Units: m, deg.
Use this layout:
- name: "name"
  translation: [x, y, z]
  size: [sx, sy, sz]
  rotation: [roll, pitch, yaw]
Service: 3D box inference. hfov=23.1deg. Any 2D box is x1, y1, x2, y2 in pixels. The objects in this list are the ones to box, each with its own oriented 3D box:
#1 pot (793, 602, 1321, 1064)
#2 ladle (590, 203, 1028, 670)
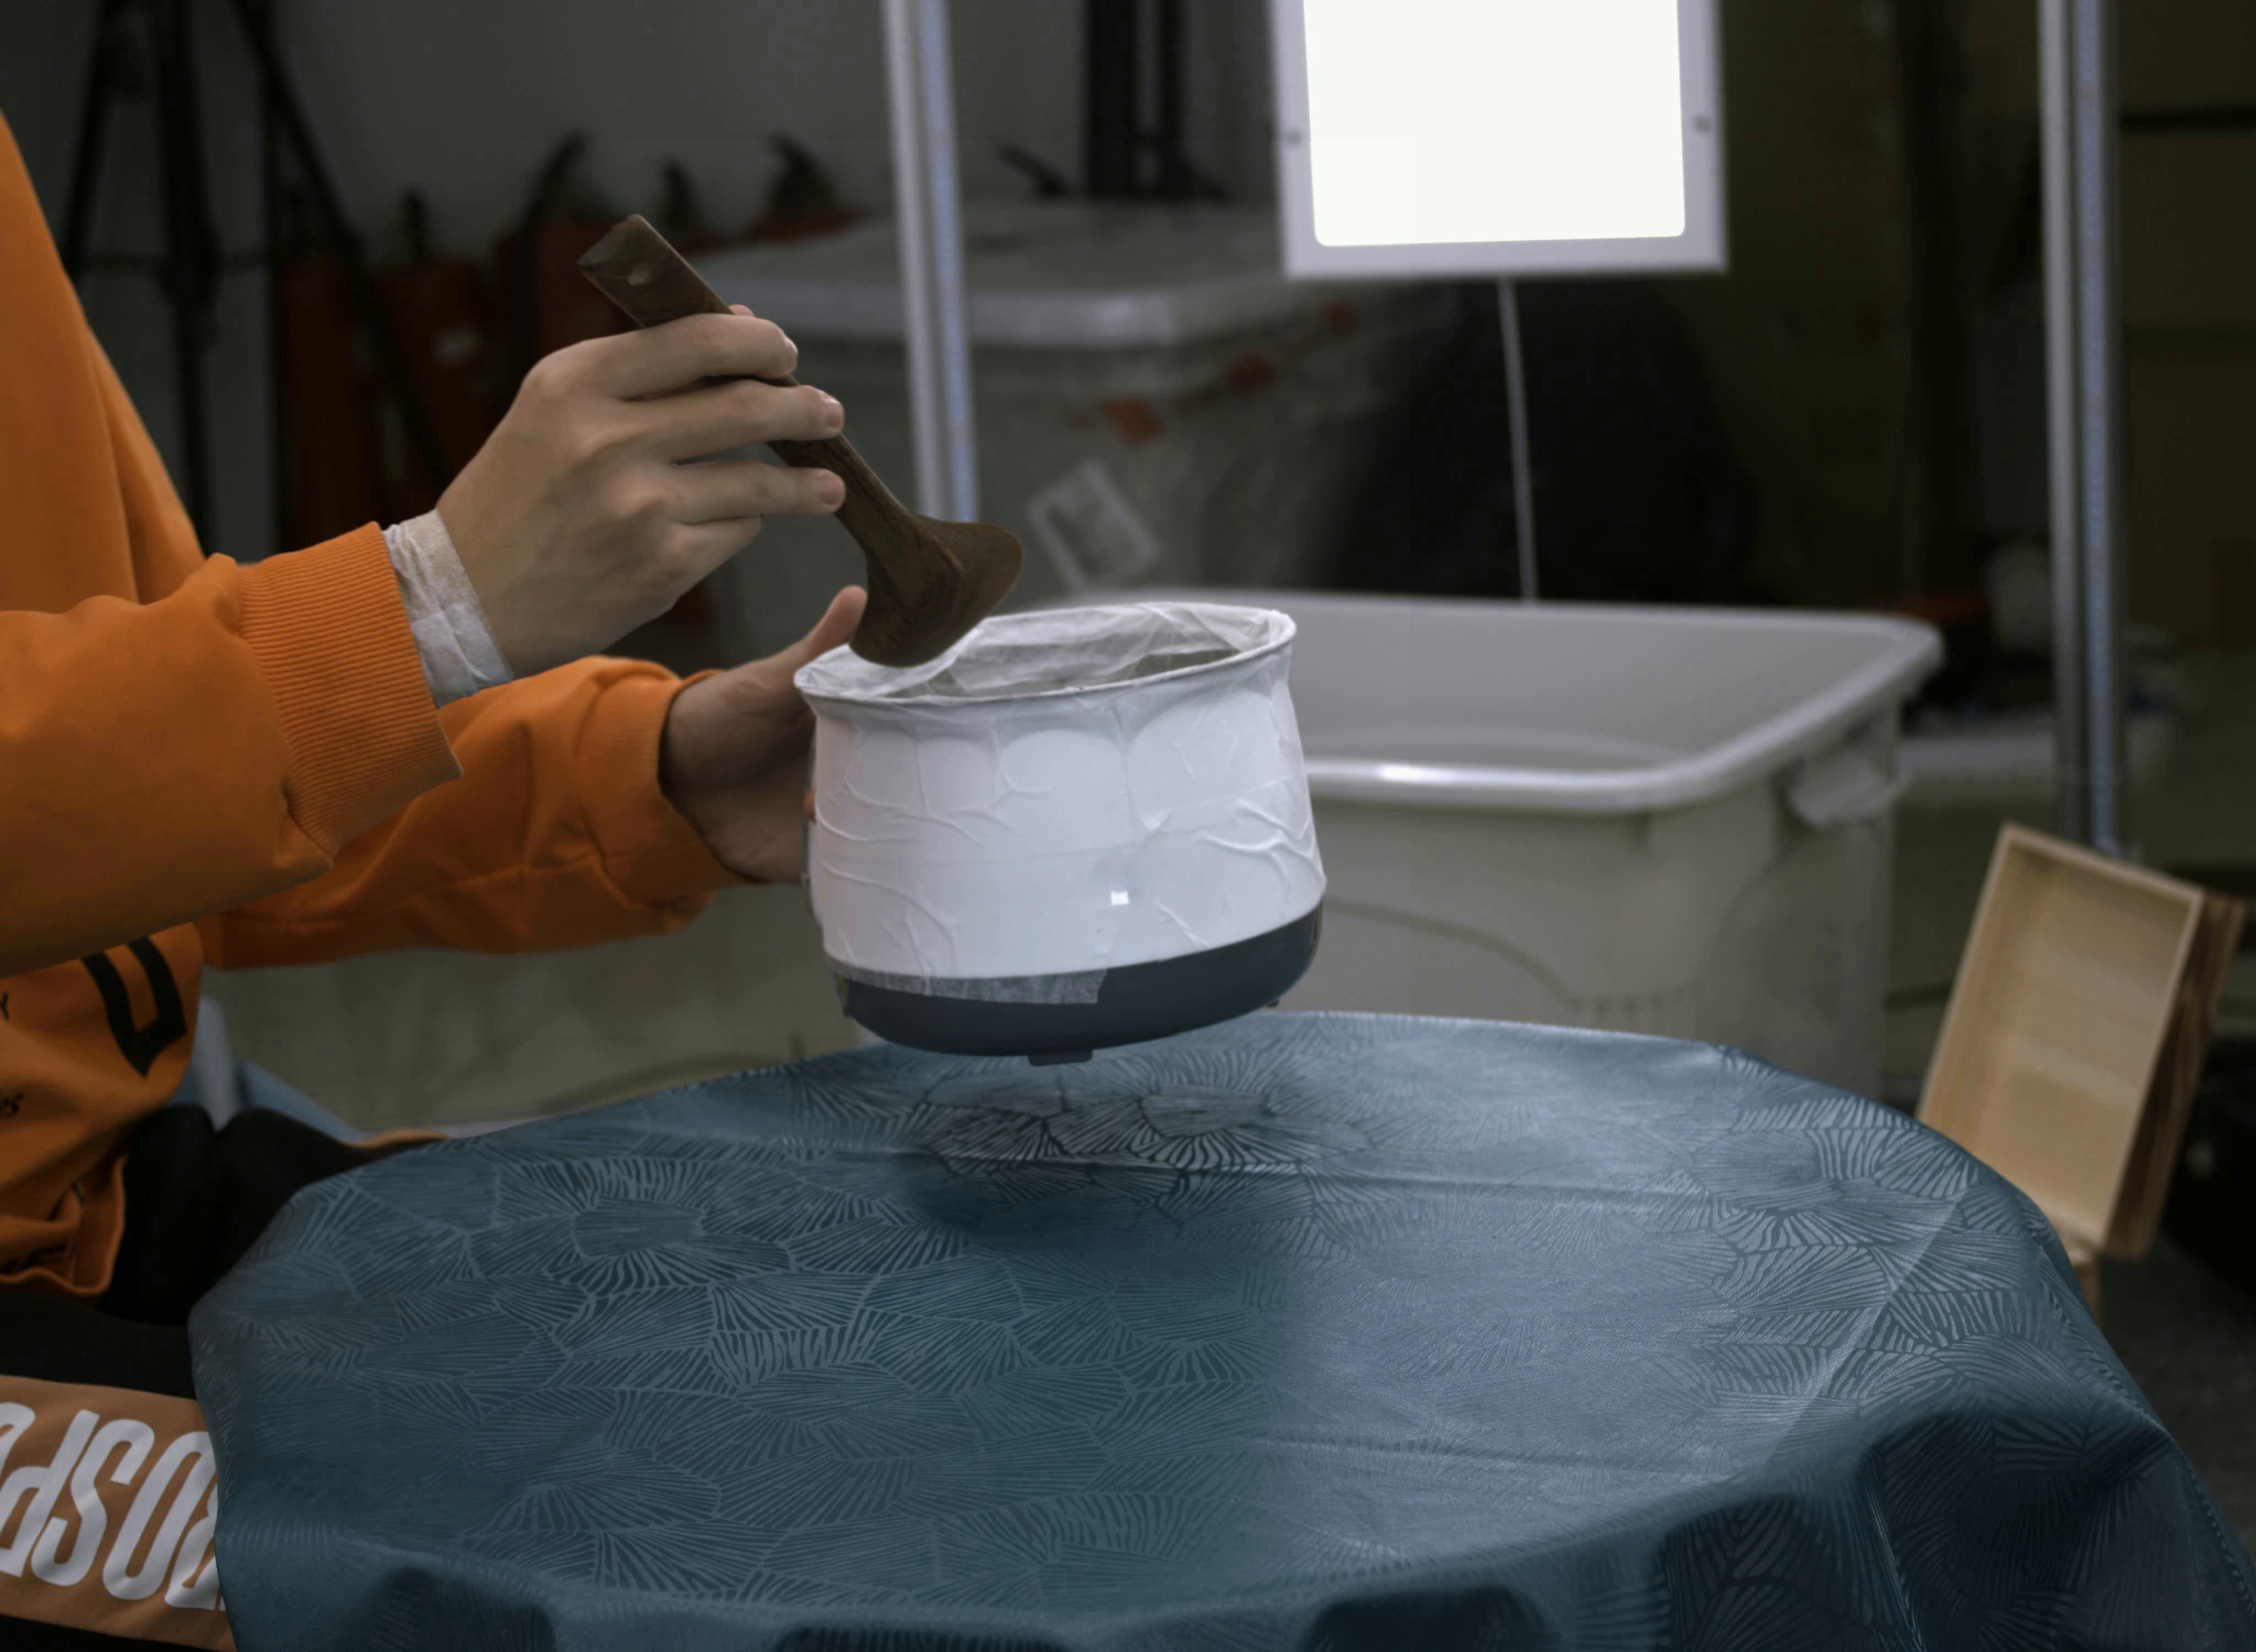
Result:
- name: "pot"
  translation: [-0.041, -0.002, 1.948]
  size: [0.174, 0.137, 0.239]
  rotation: [-14, 13, -38]
- name: "ladle"
  translation: [-0.113, -0.136, 1.826]
  size: [0.076, 0.270, 0.072]
  rotation: [-45, 48, -1]
